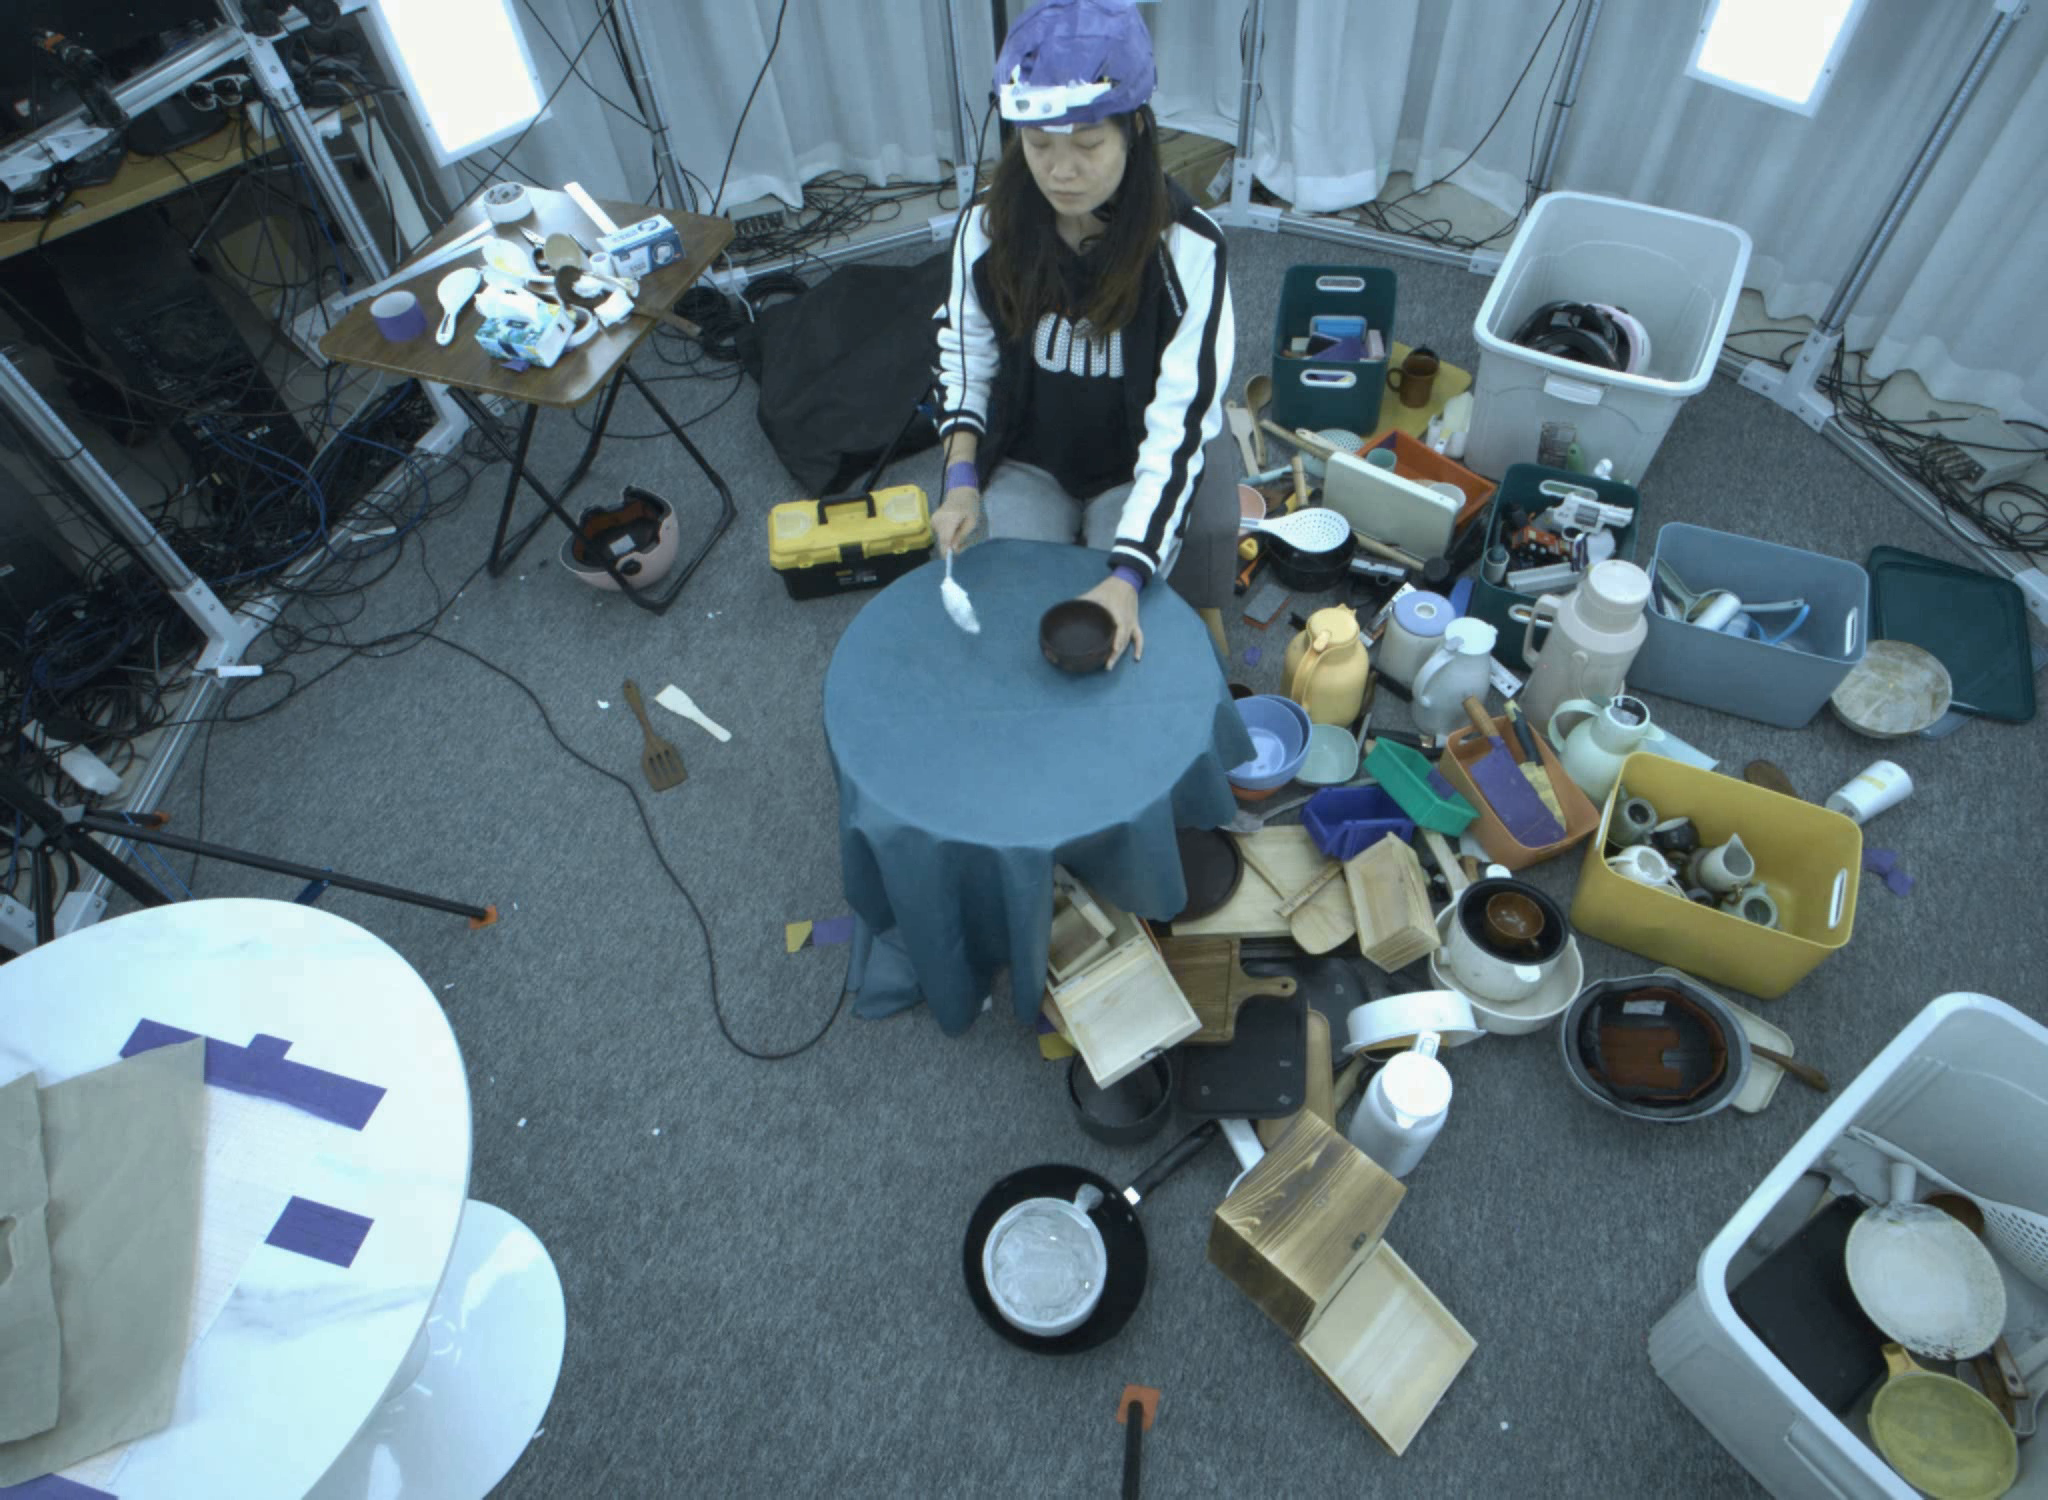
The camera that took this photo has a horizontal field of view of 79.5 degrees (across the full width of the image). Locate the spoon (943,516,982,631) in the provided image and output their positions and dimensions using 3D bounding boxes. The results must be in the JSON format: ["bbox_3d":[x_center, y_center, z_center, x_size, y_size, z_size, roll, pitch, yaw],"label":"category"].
[{"bbox_3d":[-0.086,-0.280,1.861,0.059,0.102,0.274,-8,42,11],"label":"spoon"}]

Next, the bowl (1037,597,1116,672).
[{"bbox_3d":[0.080,-0.167,1.858,0.118,0.070,0.117,0,55,2],"label":"bowl"}]
